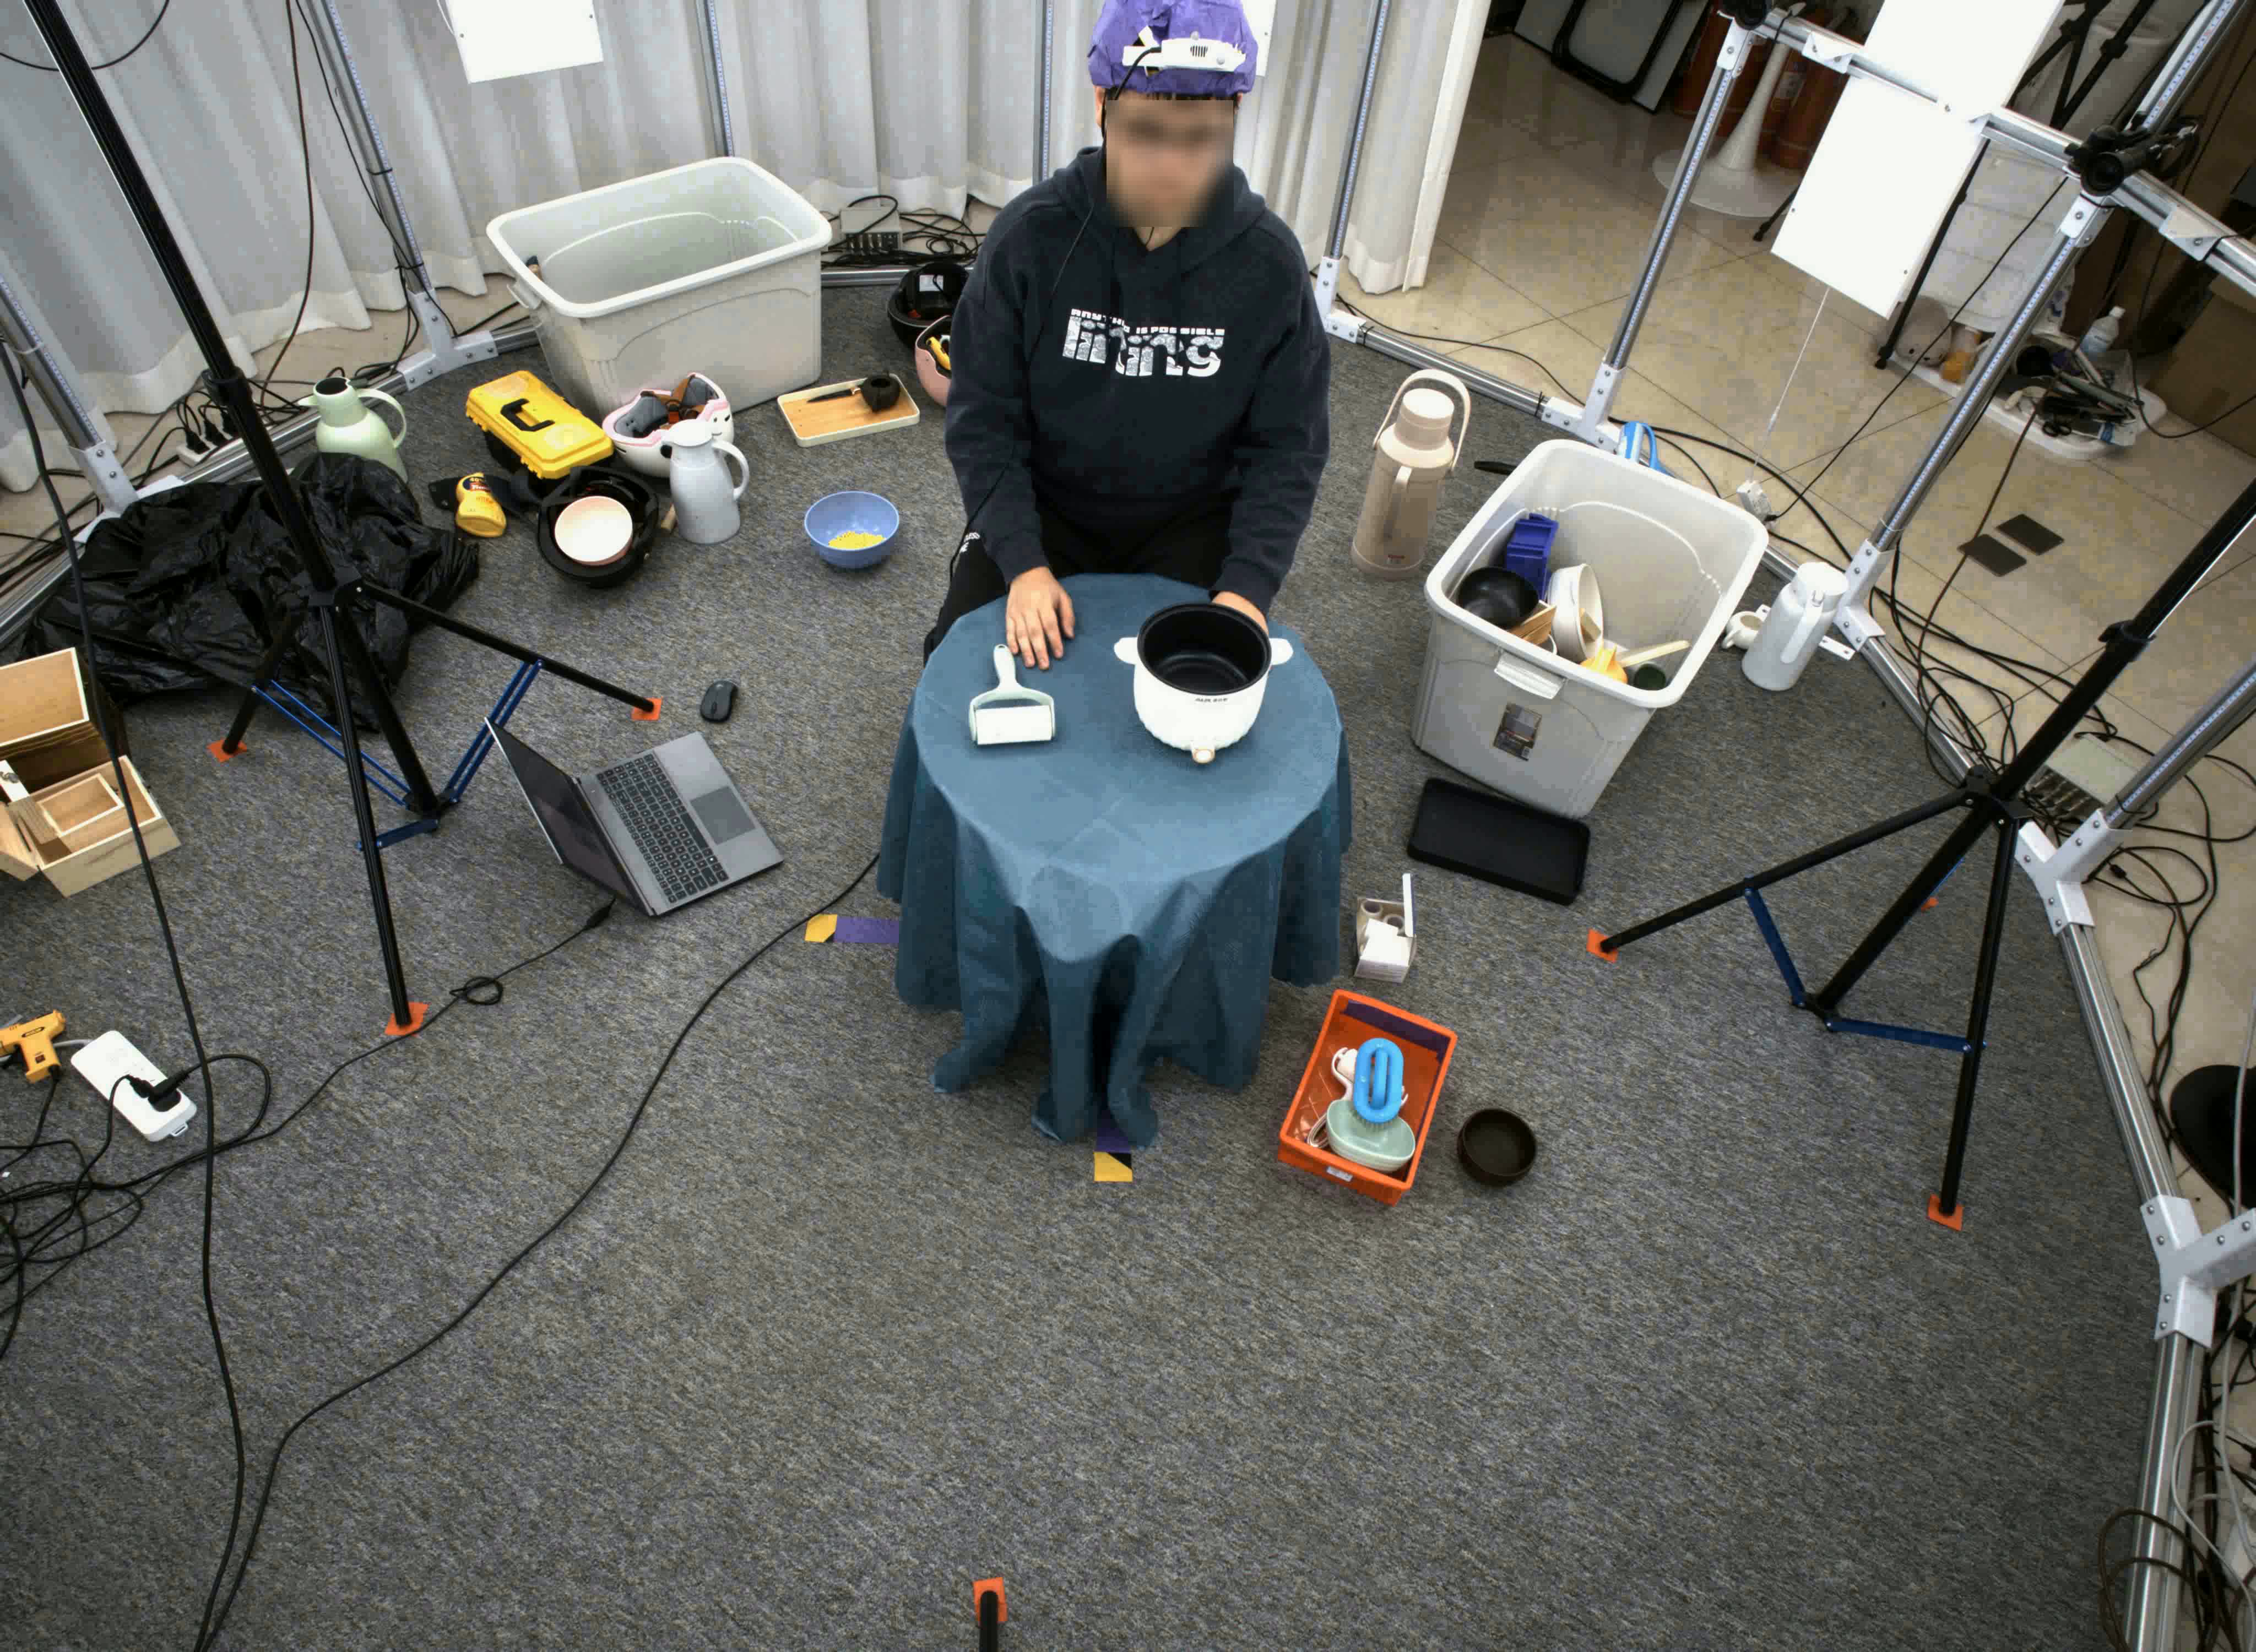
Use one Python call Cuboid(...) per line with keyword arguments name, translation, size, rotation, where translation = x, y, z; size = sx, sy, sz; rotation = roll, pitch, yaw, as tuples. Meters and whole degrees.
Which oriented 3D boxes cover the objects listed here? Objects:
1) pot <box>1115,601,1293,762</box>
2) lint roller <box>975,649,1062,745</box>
Cuboid(name="pot", translation=(0.100, -0.194, 1.752), size=(0.240, 0.139, 0.195), rotation=(-2, 46, -5))
Cuboid(name="lint roller", translation=(-0.159, -0.192, 1.792), size=(0.116, 0.047, 0.202), rotation=(-6, 47, -7))
